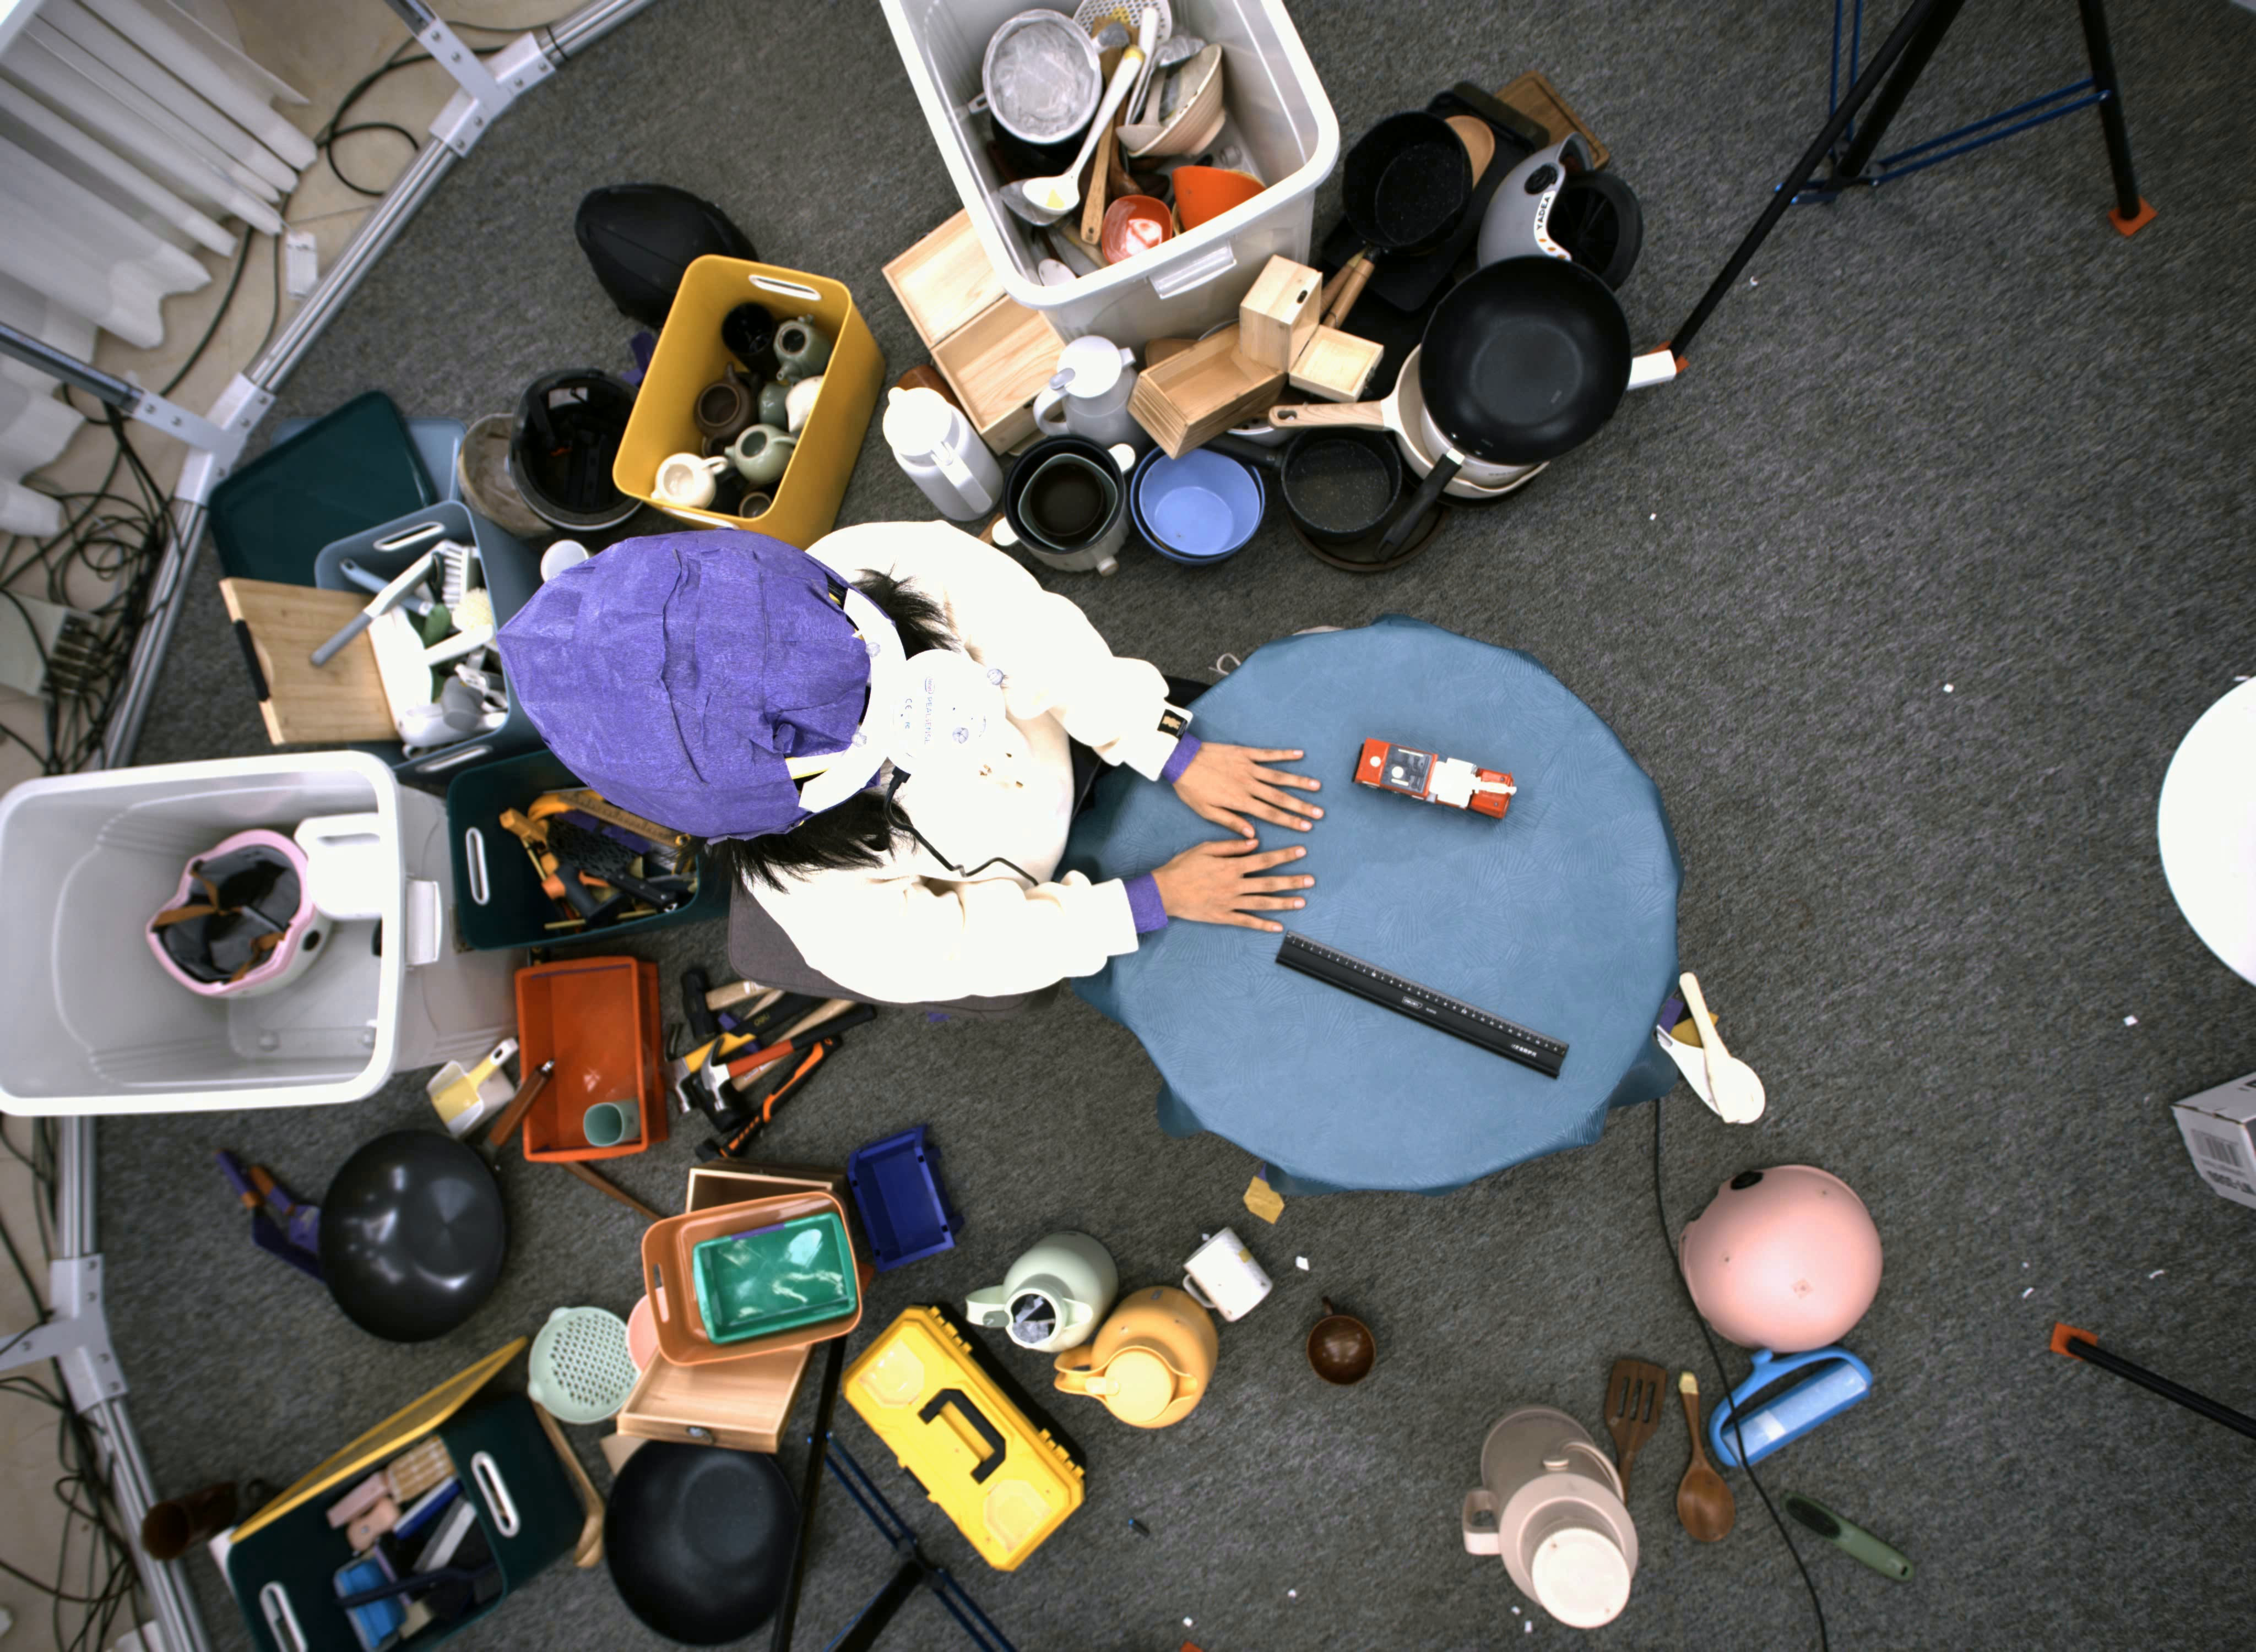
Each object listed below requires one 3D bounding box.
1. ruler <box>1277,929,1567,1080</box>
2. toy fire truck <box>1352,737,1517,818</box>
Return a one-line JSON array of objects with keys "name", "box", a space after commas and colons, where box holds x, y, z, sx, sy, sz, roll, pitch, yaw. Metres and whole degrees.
[{"name": "ruler", "box": [0.305, 0.183, 1.439, 0.312, 0.017, 0.039, 23, 88, 11]}, {"name": "toy fire truck", "box": [0.319, -0.052, 1.428, 0.168, 0.070, 0.054, 15, 89, 12]}]
